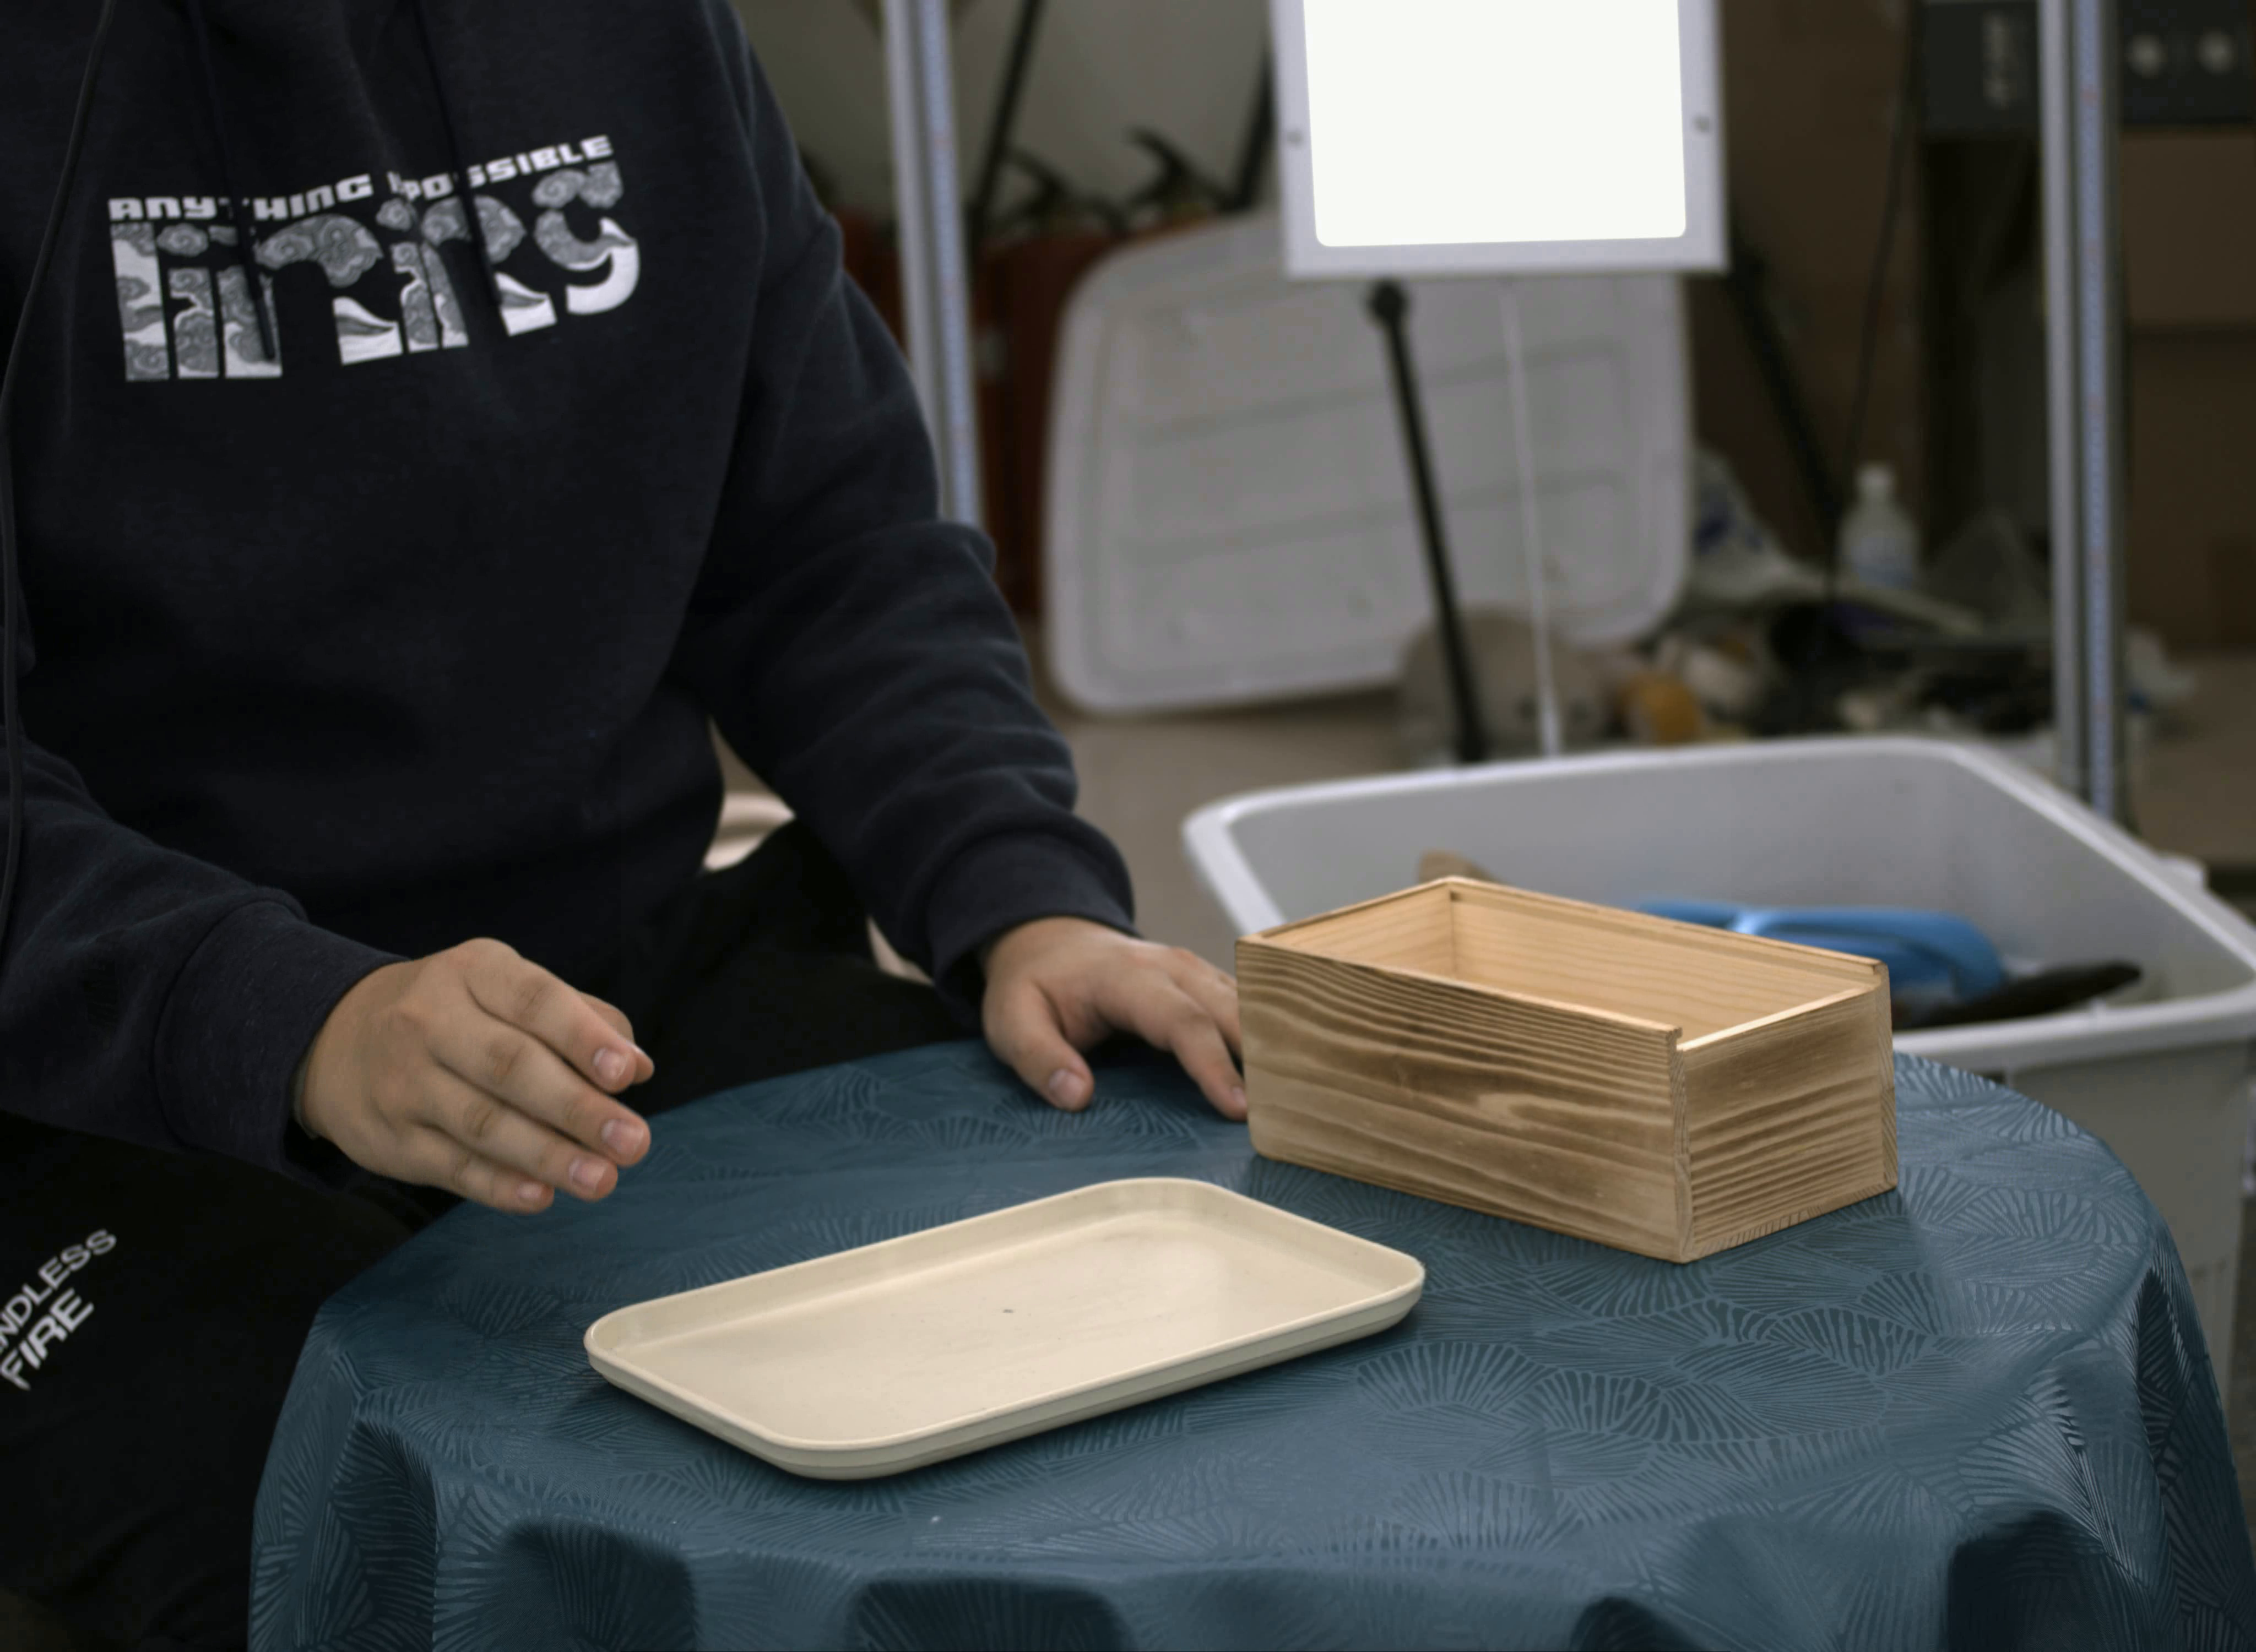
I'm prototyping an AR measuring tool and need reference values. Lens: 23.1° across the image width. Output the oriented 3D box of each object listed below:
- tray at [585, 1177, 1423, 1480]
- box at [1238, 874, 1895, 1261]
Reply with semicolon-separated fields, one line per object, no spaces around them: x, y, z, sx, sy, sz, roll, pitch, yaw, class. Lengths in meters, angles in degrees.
-0.038;0.158;1.745;0.234;0.017;0.174;-13;15;-30;tray
0.148;0.079;1.873;0.105;0.080;0.216;-15;17;-38;box
